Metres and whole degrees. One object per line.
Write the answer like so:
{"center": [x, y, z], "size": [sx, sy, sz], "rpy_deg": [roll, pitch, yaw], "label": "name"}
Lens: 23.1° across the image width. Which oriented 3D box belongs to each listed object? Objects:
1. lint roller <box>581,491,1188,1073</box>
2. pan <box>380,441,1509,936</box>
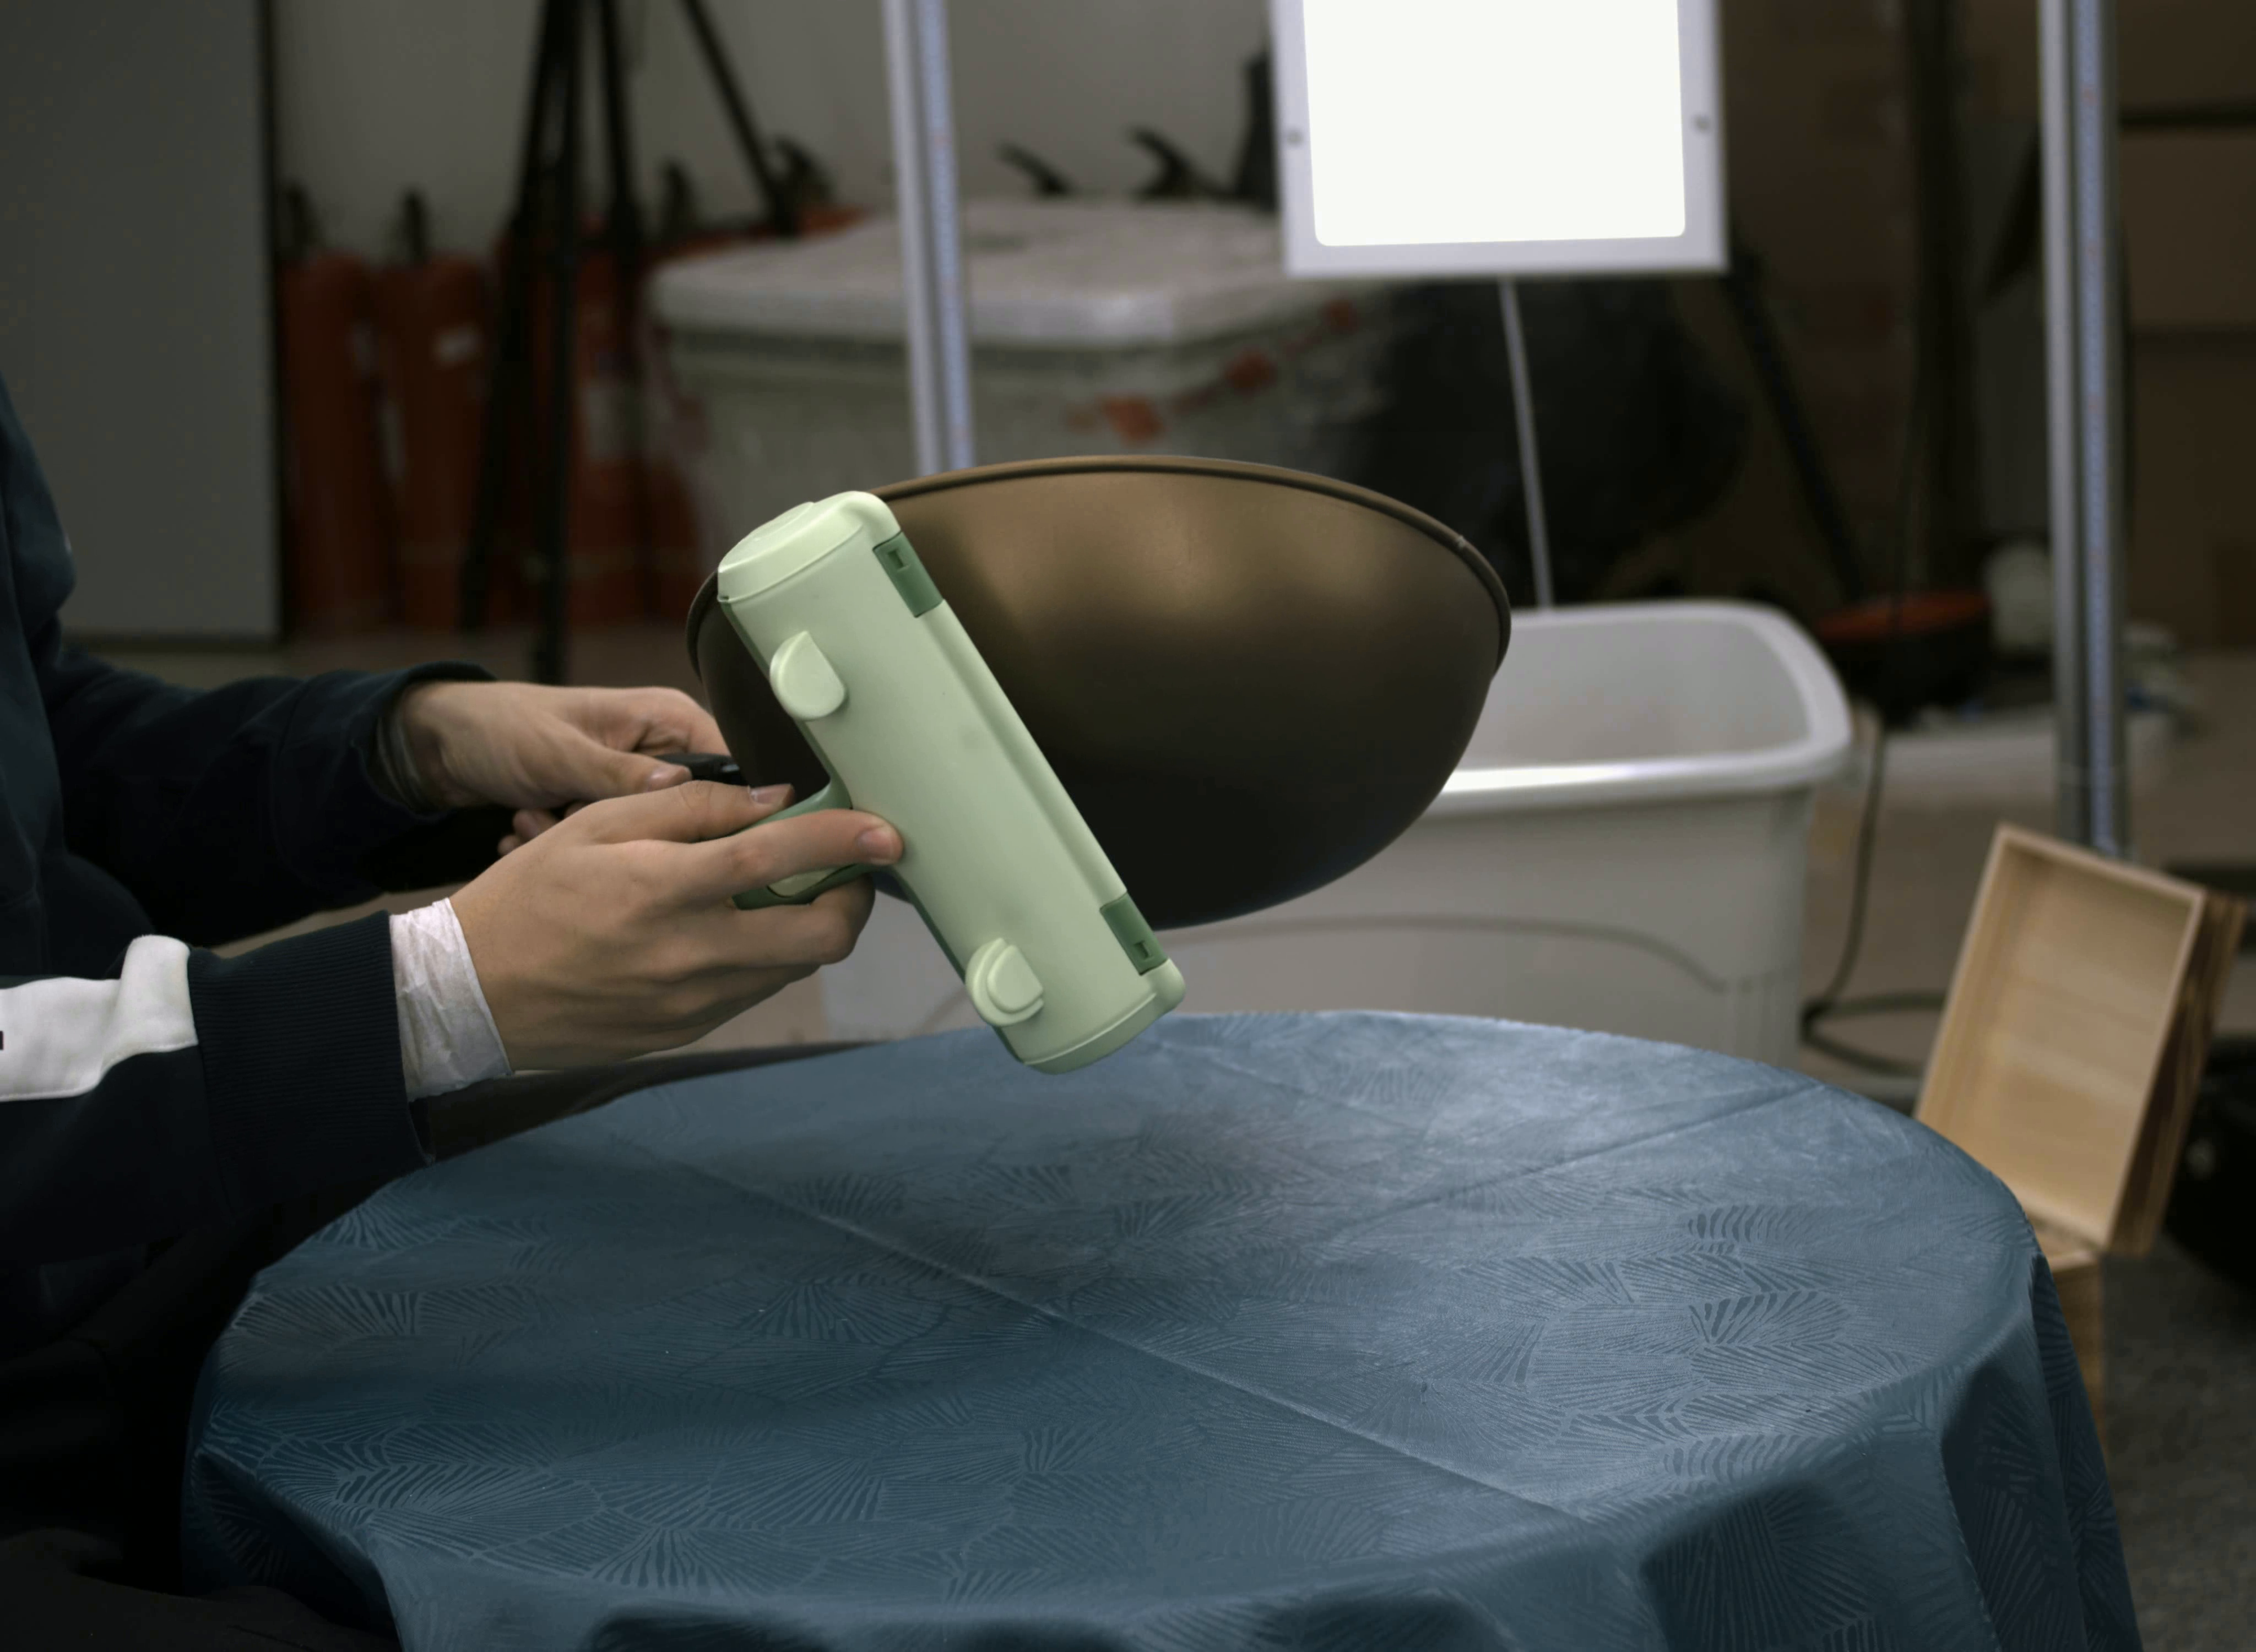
{"center": [-0.105, 0.015, 1.740], "size": [0.186, 0.198, 0.081], "rpy_deg": [-29, 14, 20], "label": "lint roller"}
{"center": [-0.084, -0.006, 1.888], "size": [0.473, 0.087, 0.282], "rpy_deg": [-17, -28, 33], "label": "pan"}
